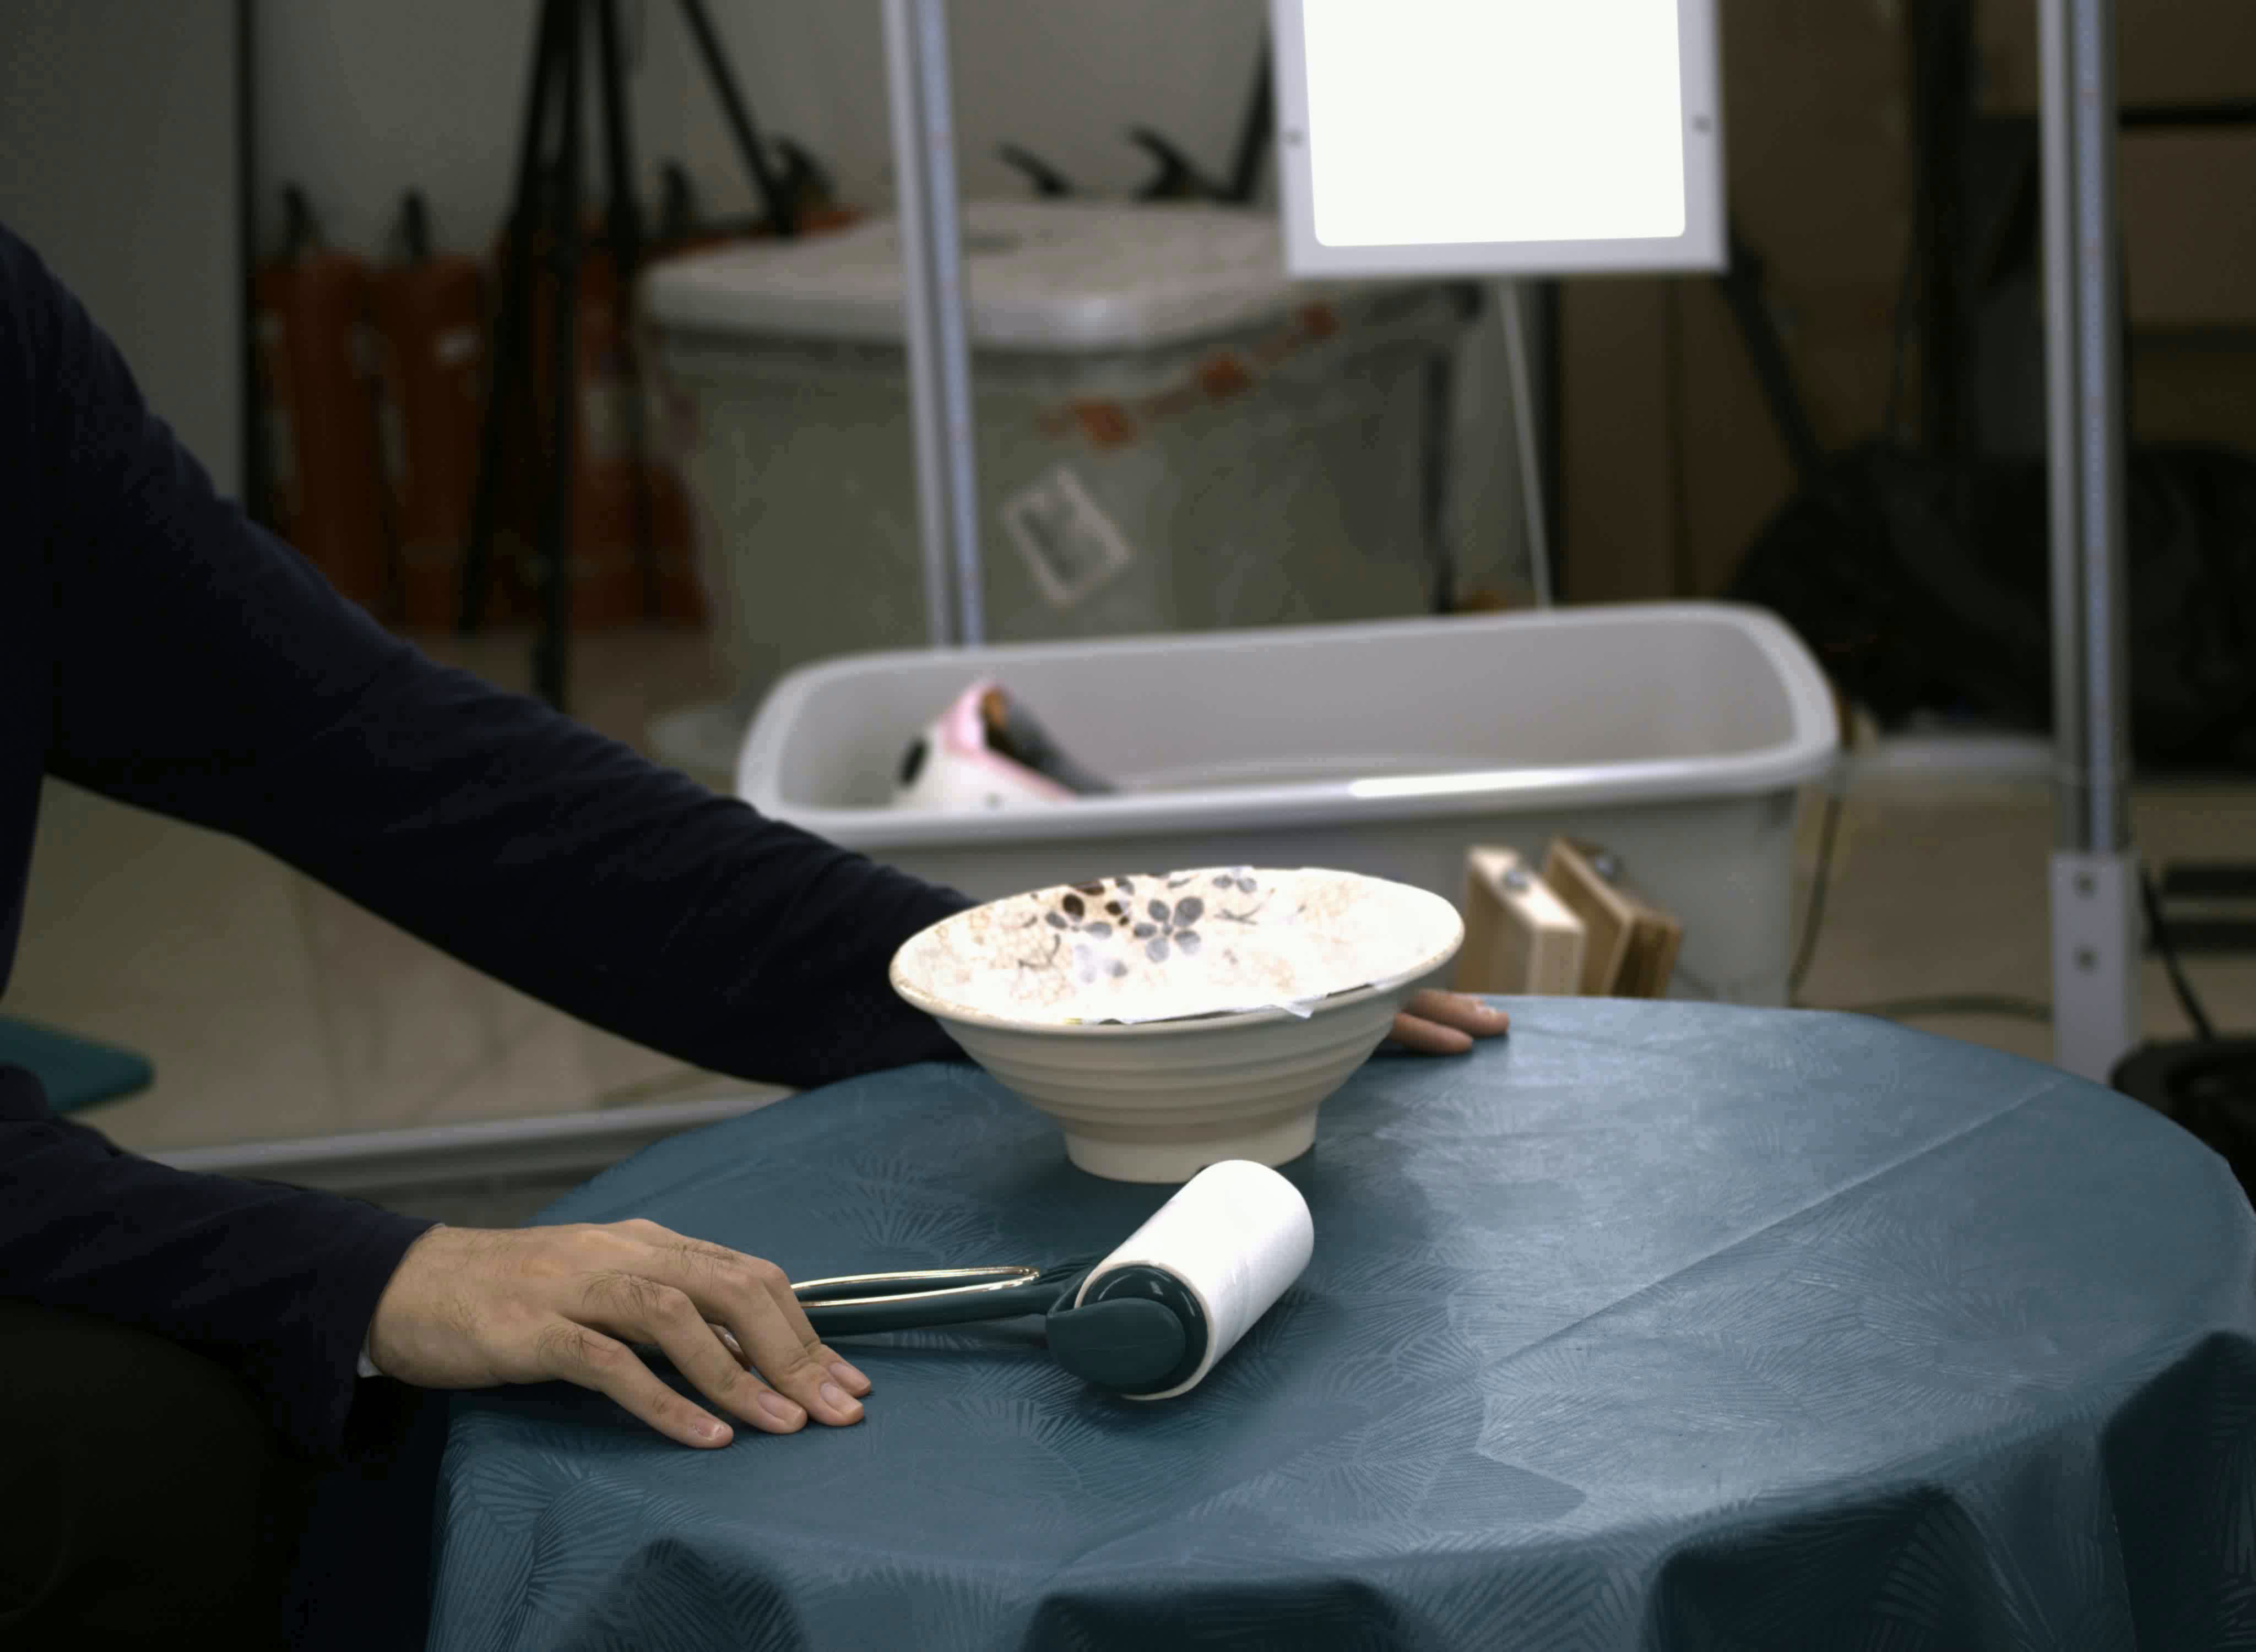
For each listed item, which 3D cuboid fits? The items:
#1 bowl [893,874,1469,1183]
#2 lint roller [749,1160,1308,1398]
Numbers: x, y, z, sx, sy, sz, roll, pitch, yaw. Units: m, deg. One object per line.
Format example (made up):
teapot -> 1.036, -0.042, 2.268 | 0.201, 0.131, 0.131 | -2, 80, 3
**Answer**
bowl -> 0.022, 0.077, 1.937 | 0.203, 0.078, 0.204 | -6, 12, 0
lint roller -> -0.041, 0.145, 1.758 | 0.183, 0.048, 0.132 | -3, 13, 23
